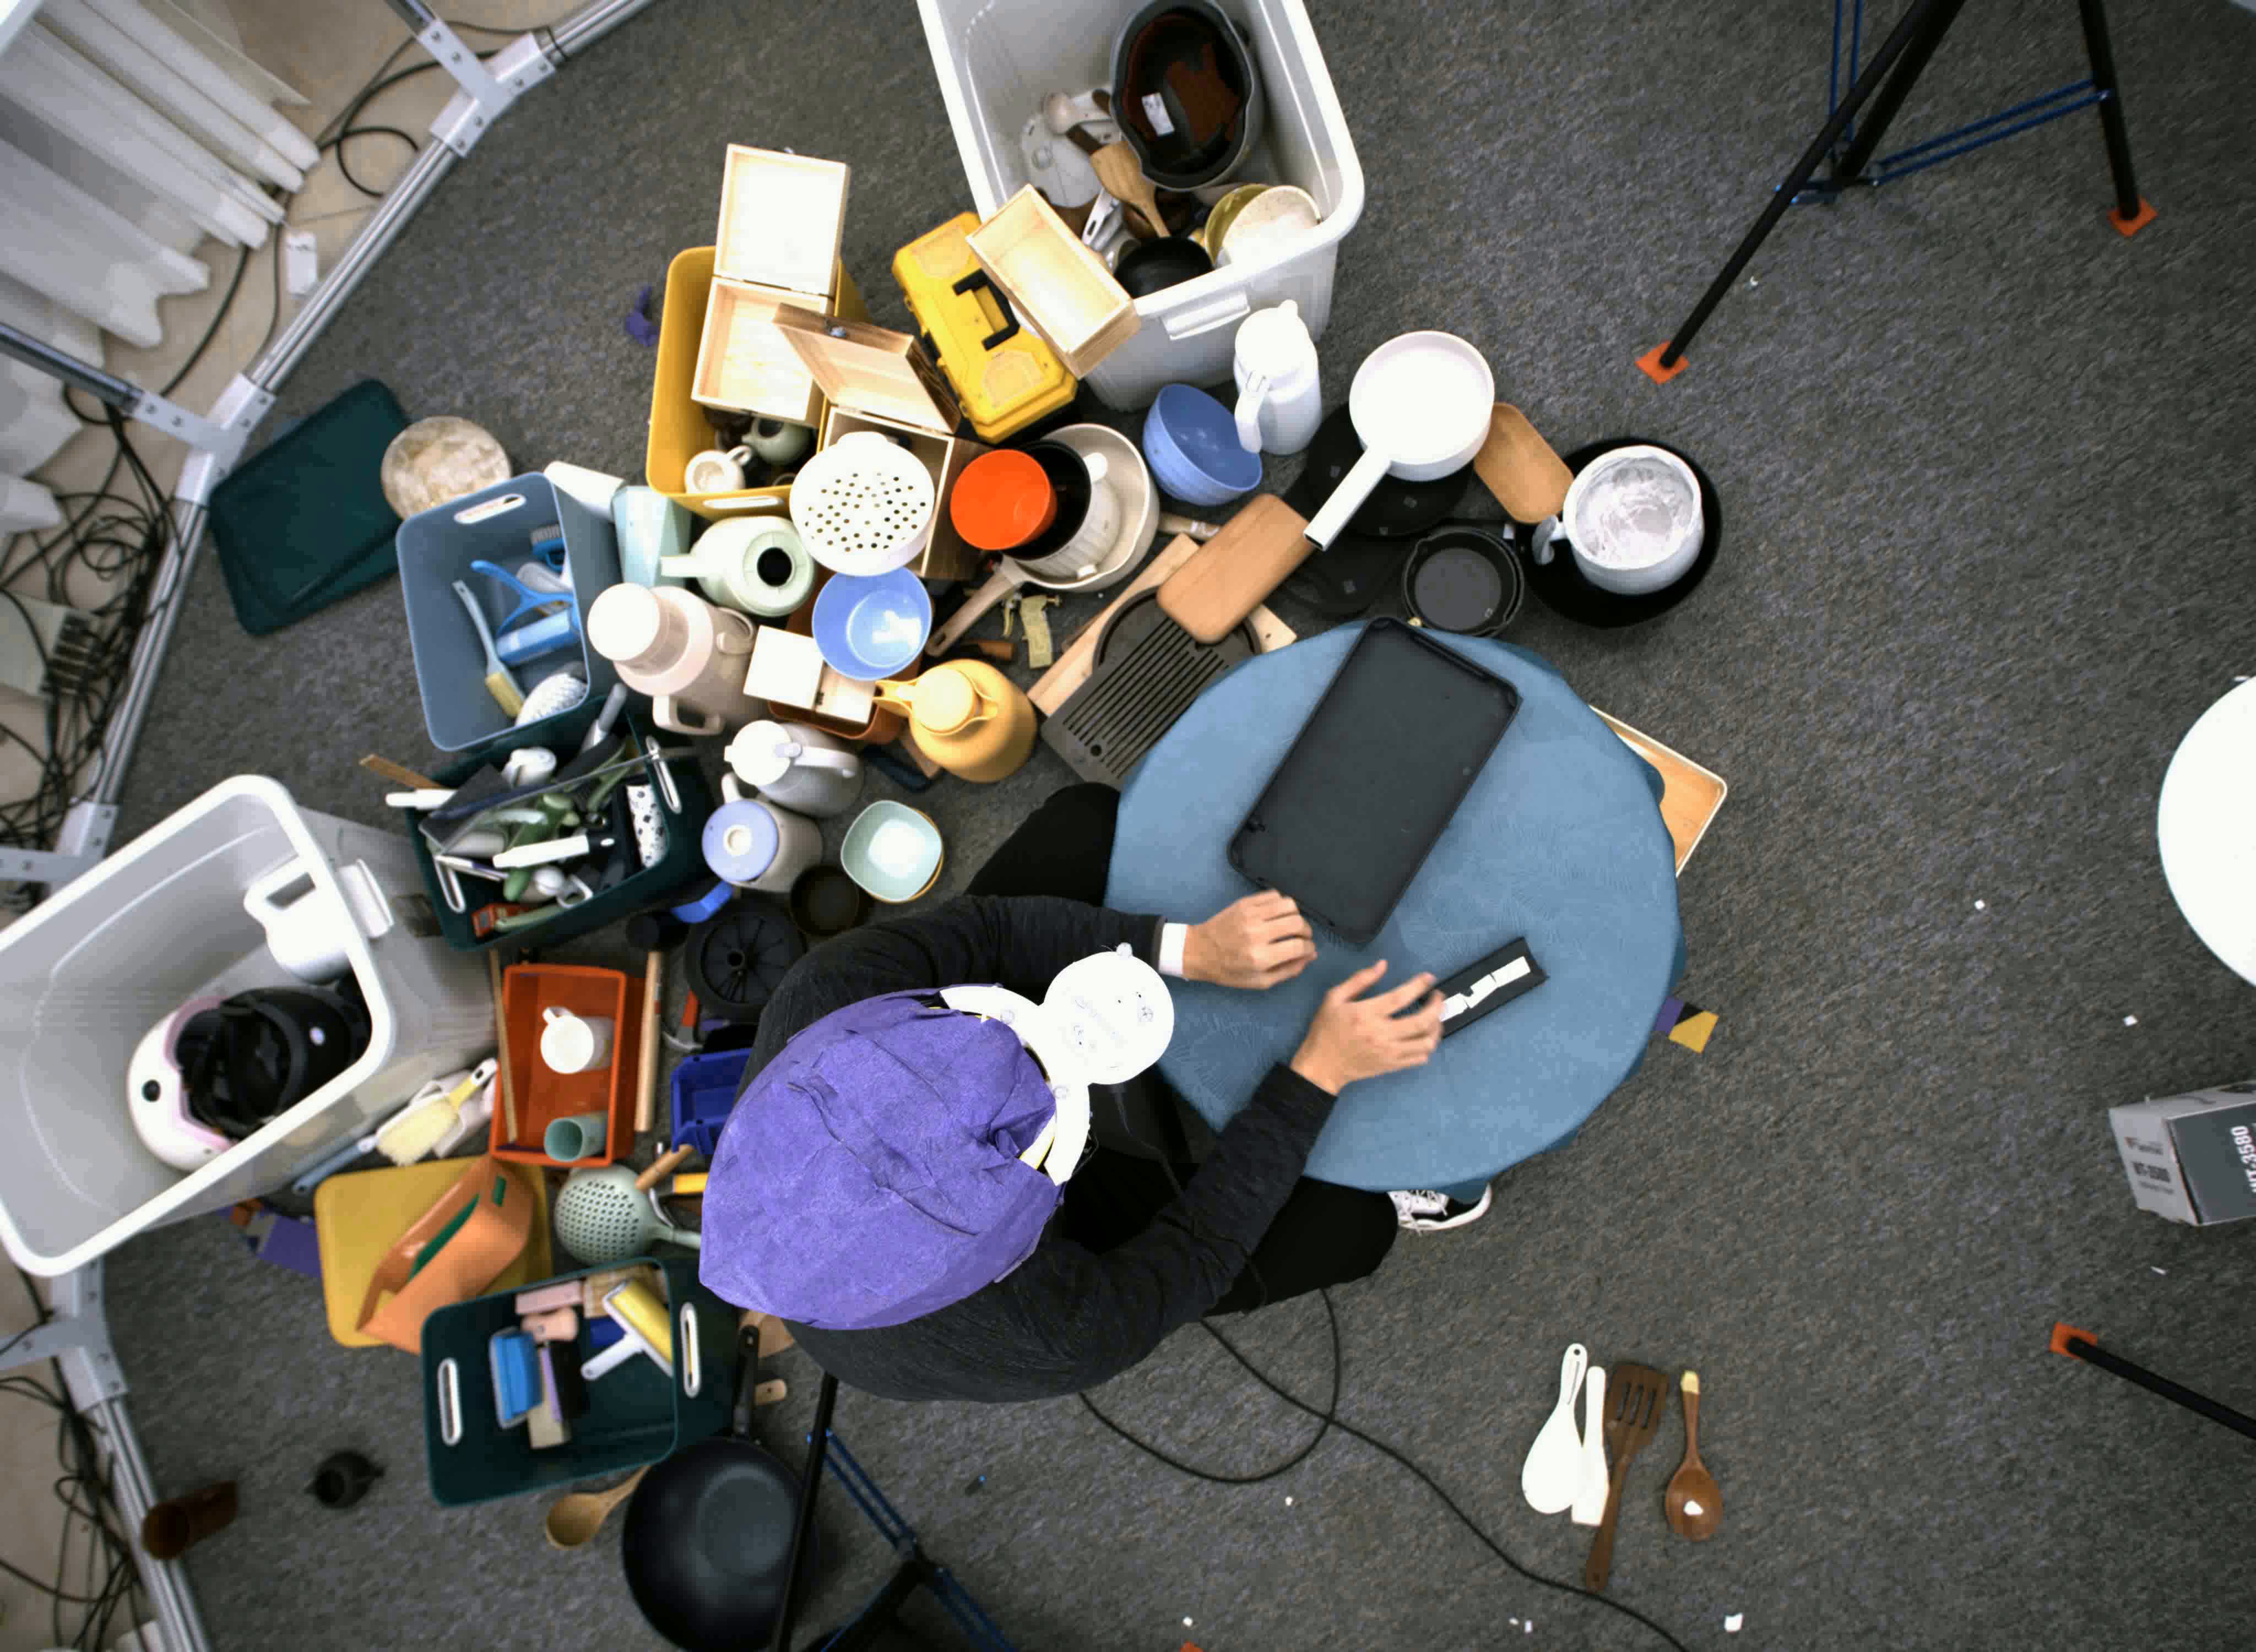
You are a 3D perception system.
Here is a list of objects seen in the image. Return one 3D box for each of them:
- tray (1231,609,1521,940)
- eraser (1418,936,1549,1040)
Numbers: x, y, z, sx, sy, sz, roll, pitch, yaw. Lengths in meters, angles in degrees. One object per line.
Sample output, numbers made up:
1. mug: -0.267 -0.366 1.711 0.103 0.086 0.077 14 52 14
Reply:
1. tray: 0.260 -0.055 1.452 0.184 0.037 0.319 31 93 11
2. eraser: 0.367 0.165 1.423 0.126 0.030 0.053 -32 79 8
